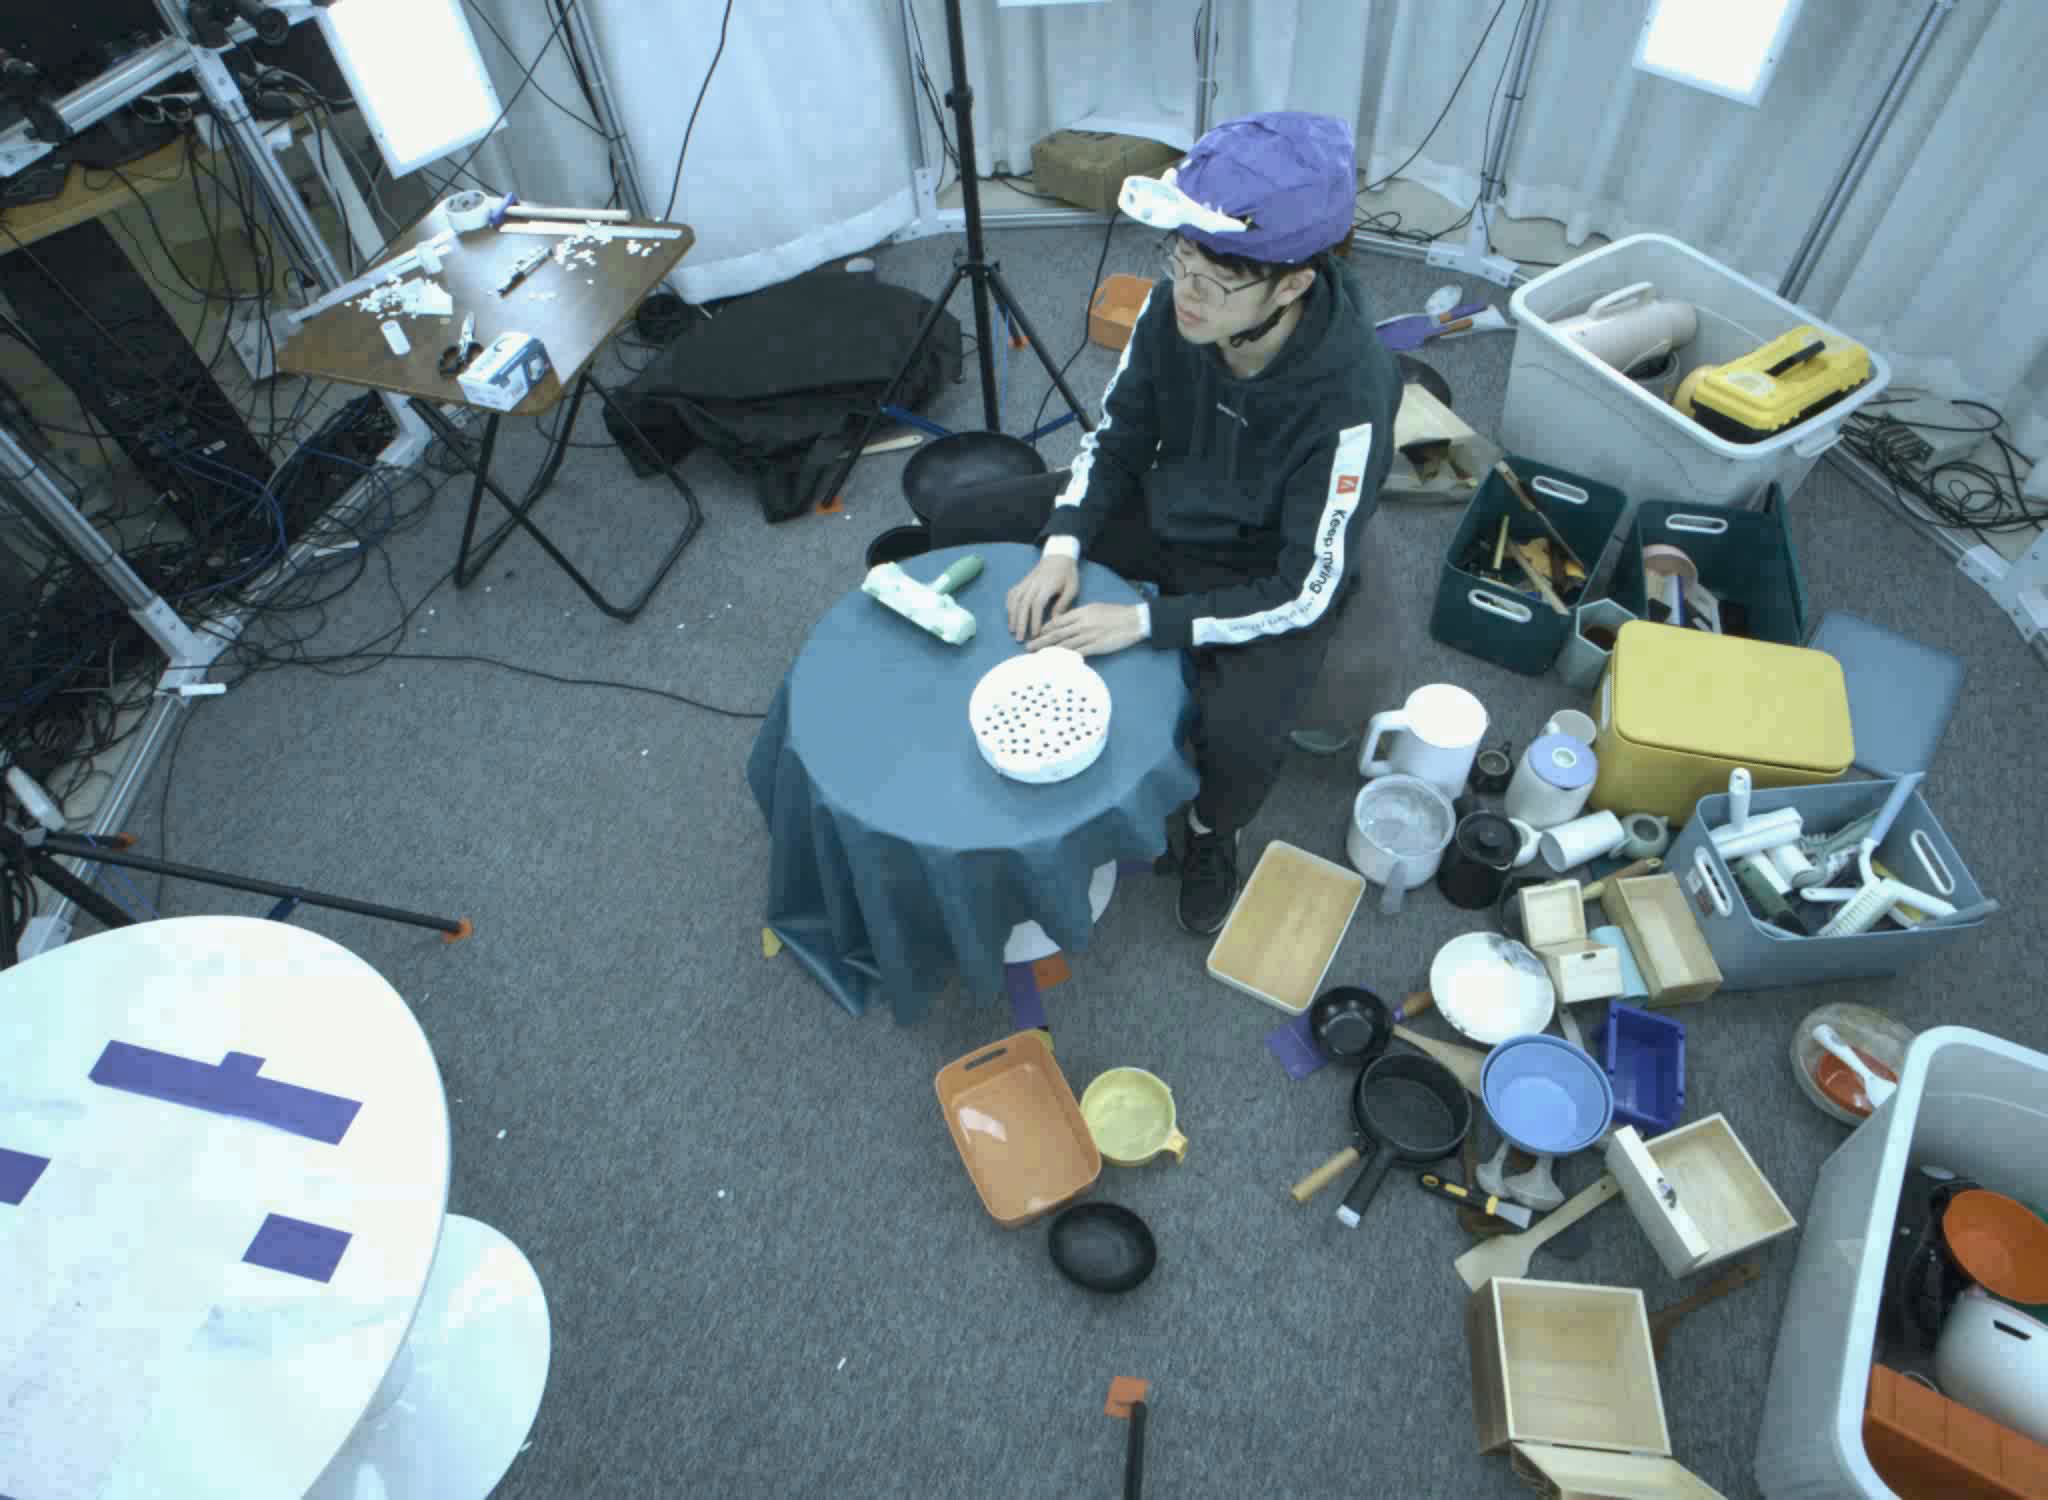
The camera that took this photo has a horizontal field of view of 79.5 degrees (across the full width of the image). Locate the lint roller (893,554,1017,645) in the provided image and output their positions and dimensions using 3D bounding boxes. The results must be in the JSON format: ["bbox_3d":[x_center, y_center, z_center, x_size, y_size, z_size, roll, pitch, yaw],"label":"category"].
[{"bbox_3d":[-0.079,-0.269,1.930,0.195,0.083,0.184,34,67,24],"label":"lint roller"}]

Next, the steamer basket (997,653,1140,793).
[{"bbox_3d":[0.065,-0.033,1.762,0.200,0.070,0.230,14,58,13],"label":"steamer basket"}]
